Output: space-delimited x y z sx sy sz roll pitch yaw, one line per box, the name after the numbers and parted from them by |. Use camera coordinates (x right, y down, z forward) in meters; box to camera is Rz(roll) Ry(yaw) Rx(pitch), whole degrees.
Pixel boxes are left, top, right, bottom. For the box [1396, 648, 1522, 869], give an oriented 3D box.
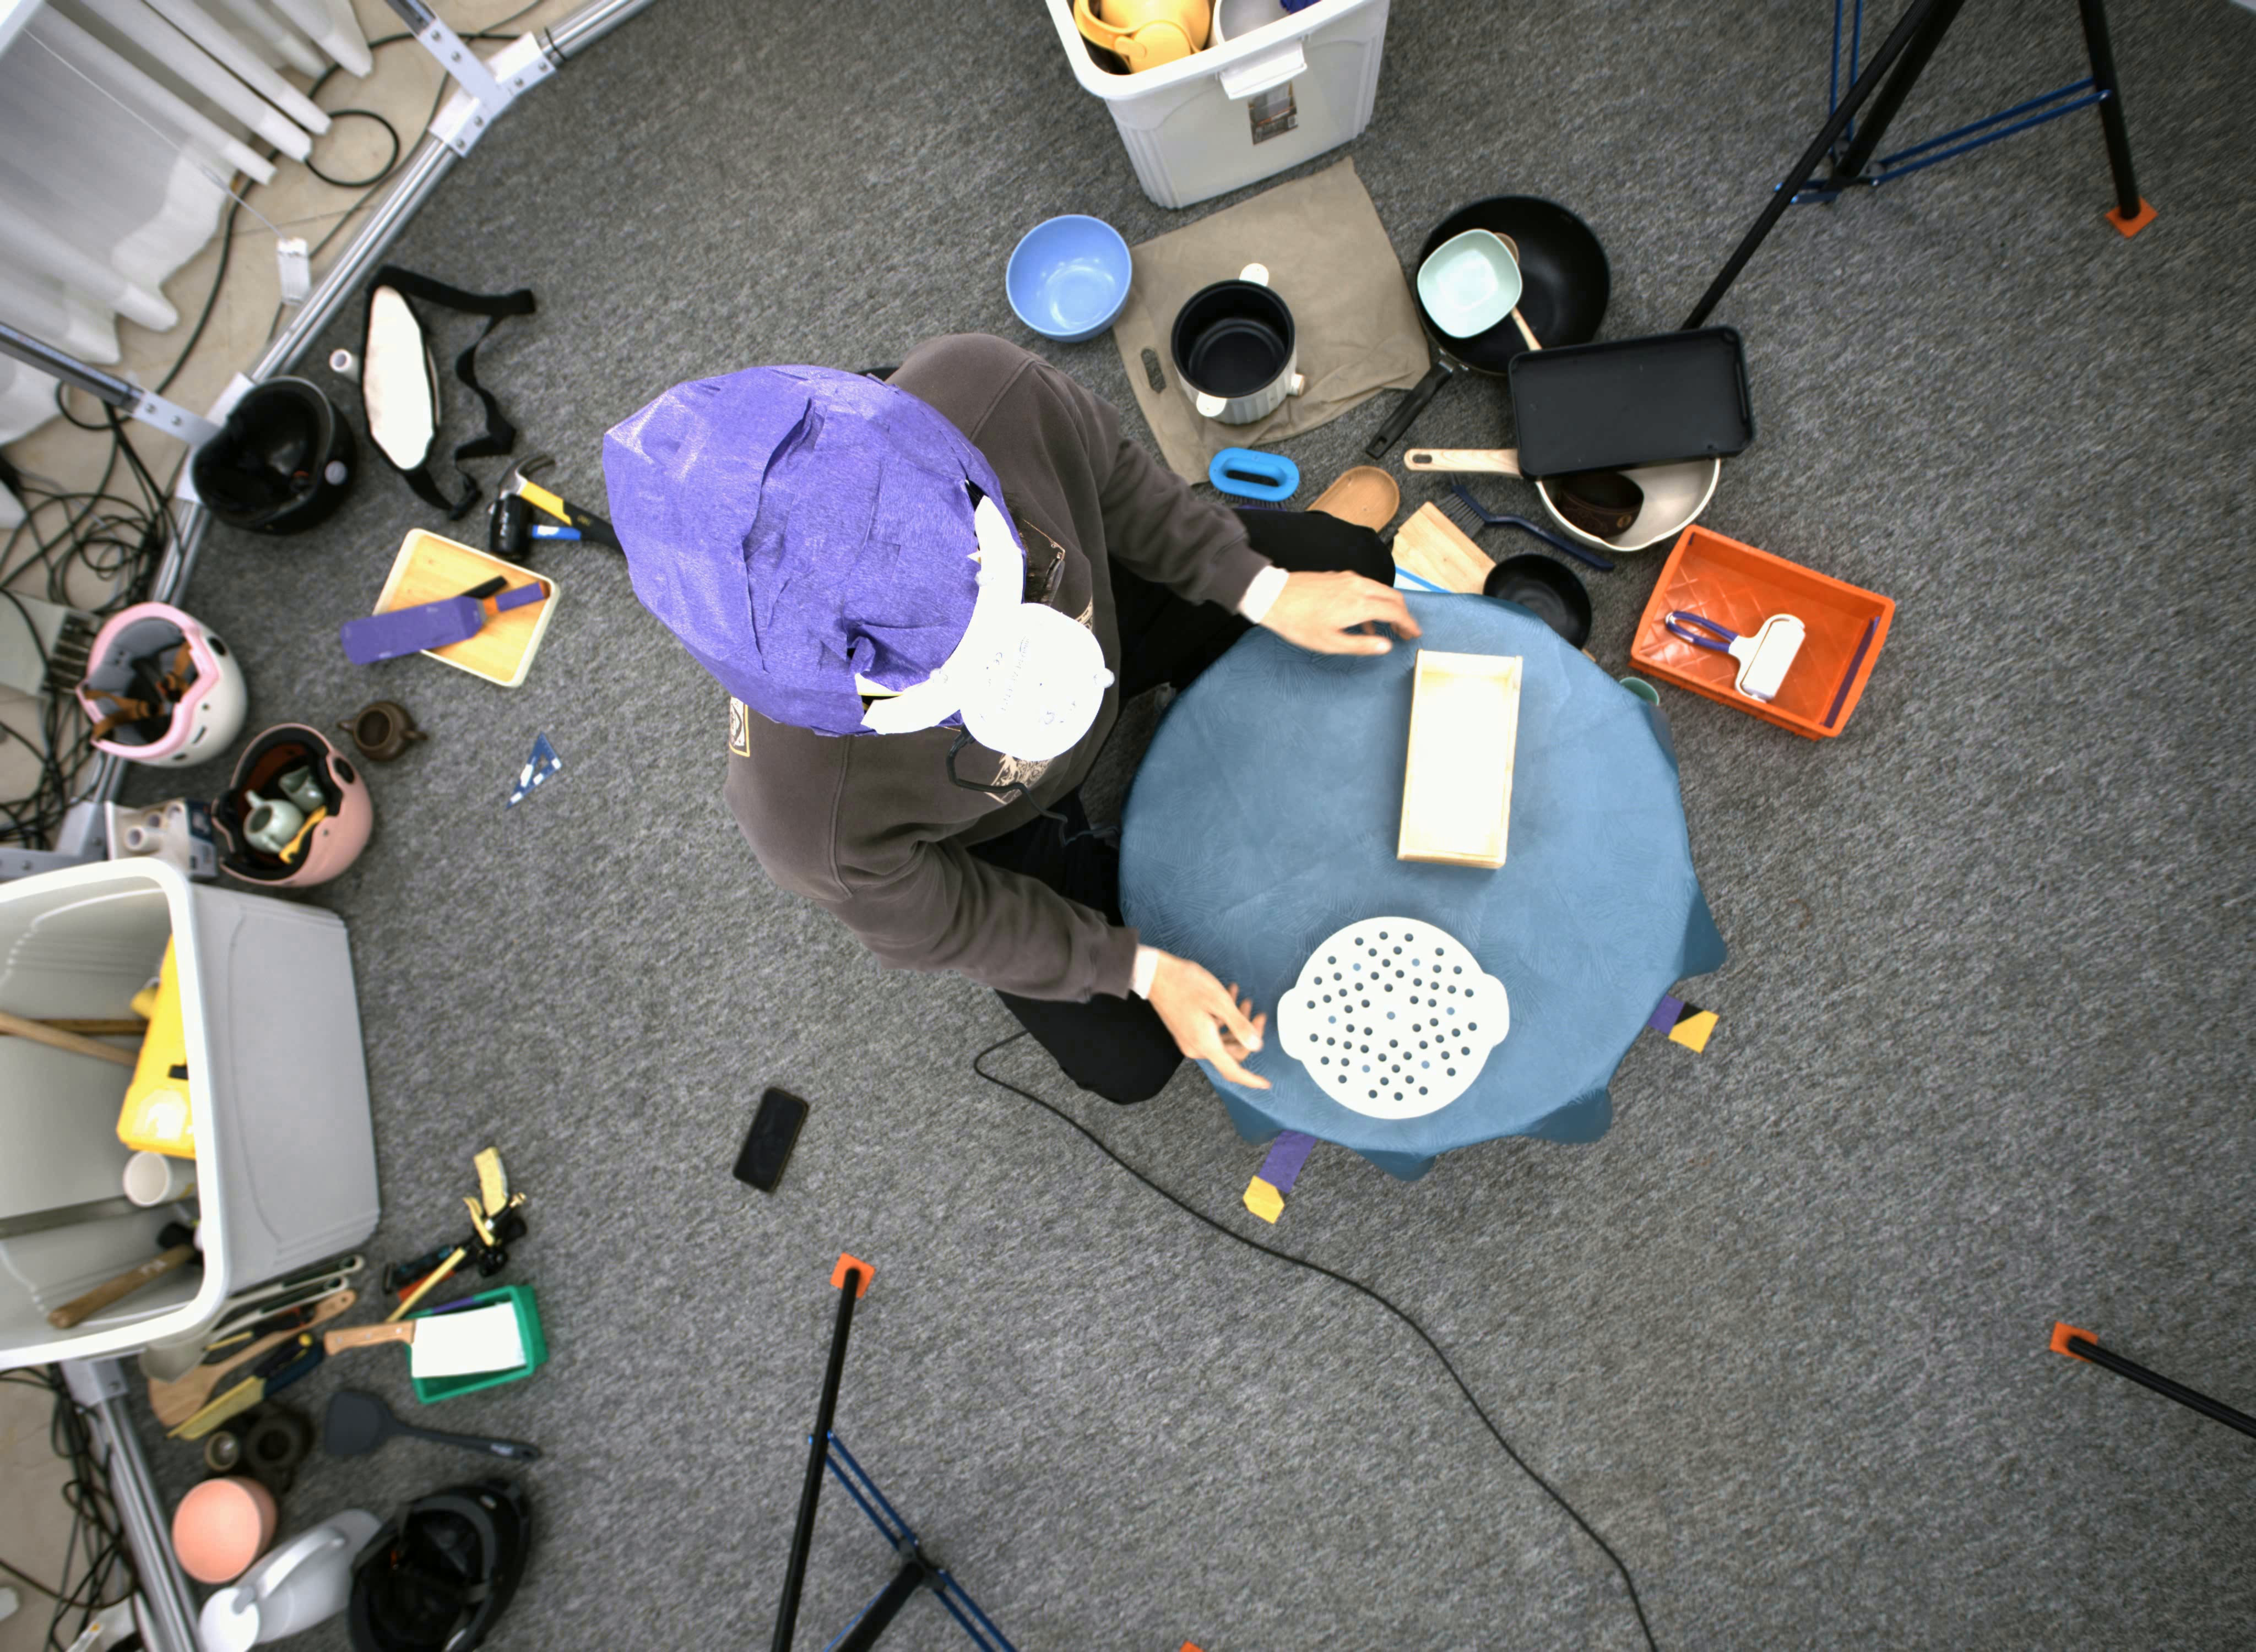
0.339 -0.069 1.411 0.108 0.080 0.211 5 88 11 | box

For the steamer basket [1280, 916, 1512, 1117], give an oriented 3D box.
0.274 0.193 1.417 0.232 0.069 0.201 -5 85 11 | steamer basket
